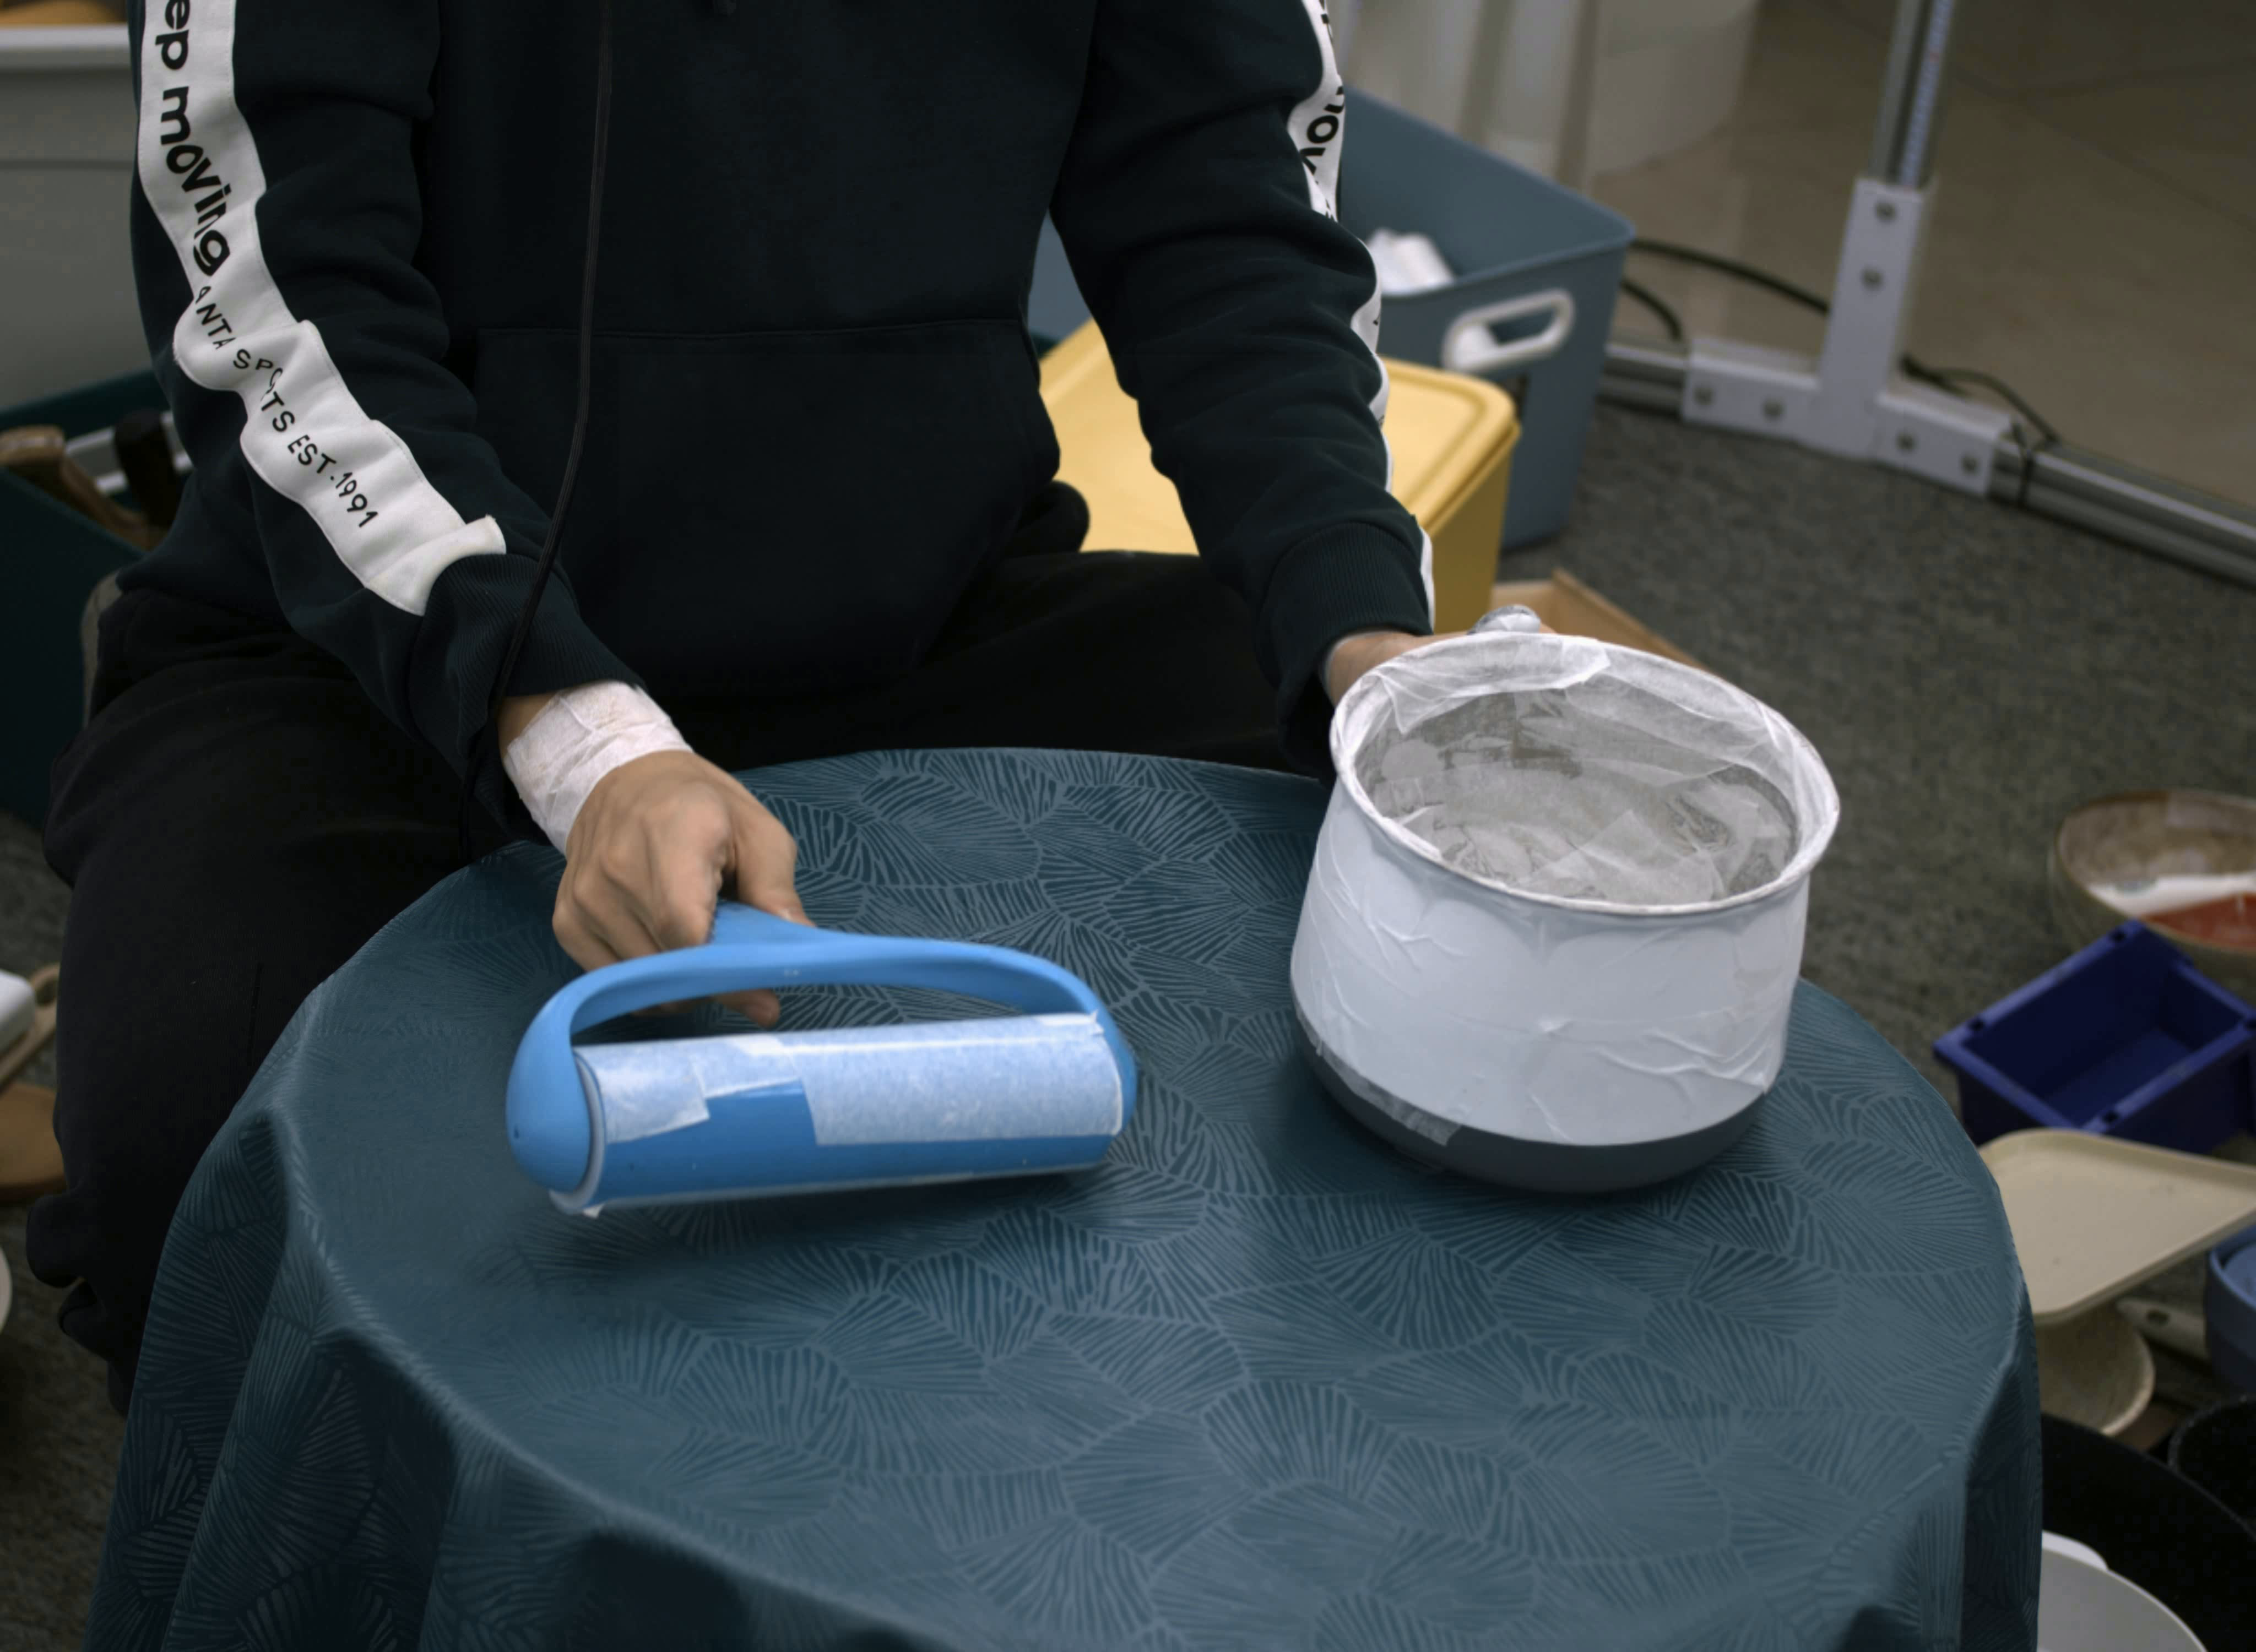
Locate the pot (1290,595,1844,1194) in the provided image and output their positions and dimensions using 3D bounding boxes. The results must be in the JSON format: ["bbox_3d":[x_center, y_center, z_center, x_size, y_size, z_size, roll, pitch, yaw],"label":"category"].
[{"bbox_3d":[0.143,0.016,1.870,0.178,0.136,0.236,0,34,-13],"label":"pot"}]

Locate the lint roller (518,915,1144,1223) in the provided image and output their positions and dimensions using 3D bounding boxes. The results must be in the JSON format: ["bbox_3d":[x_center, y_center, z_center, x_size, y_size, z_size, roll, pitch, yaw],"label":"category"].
[{"bbox_3d":[-0.125,0.065,1.790,0.227,0.068,0.182,-7,32,-33],"label":"lint roller"}]
